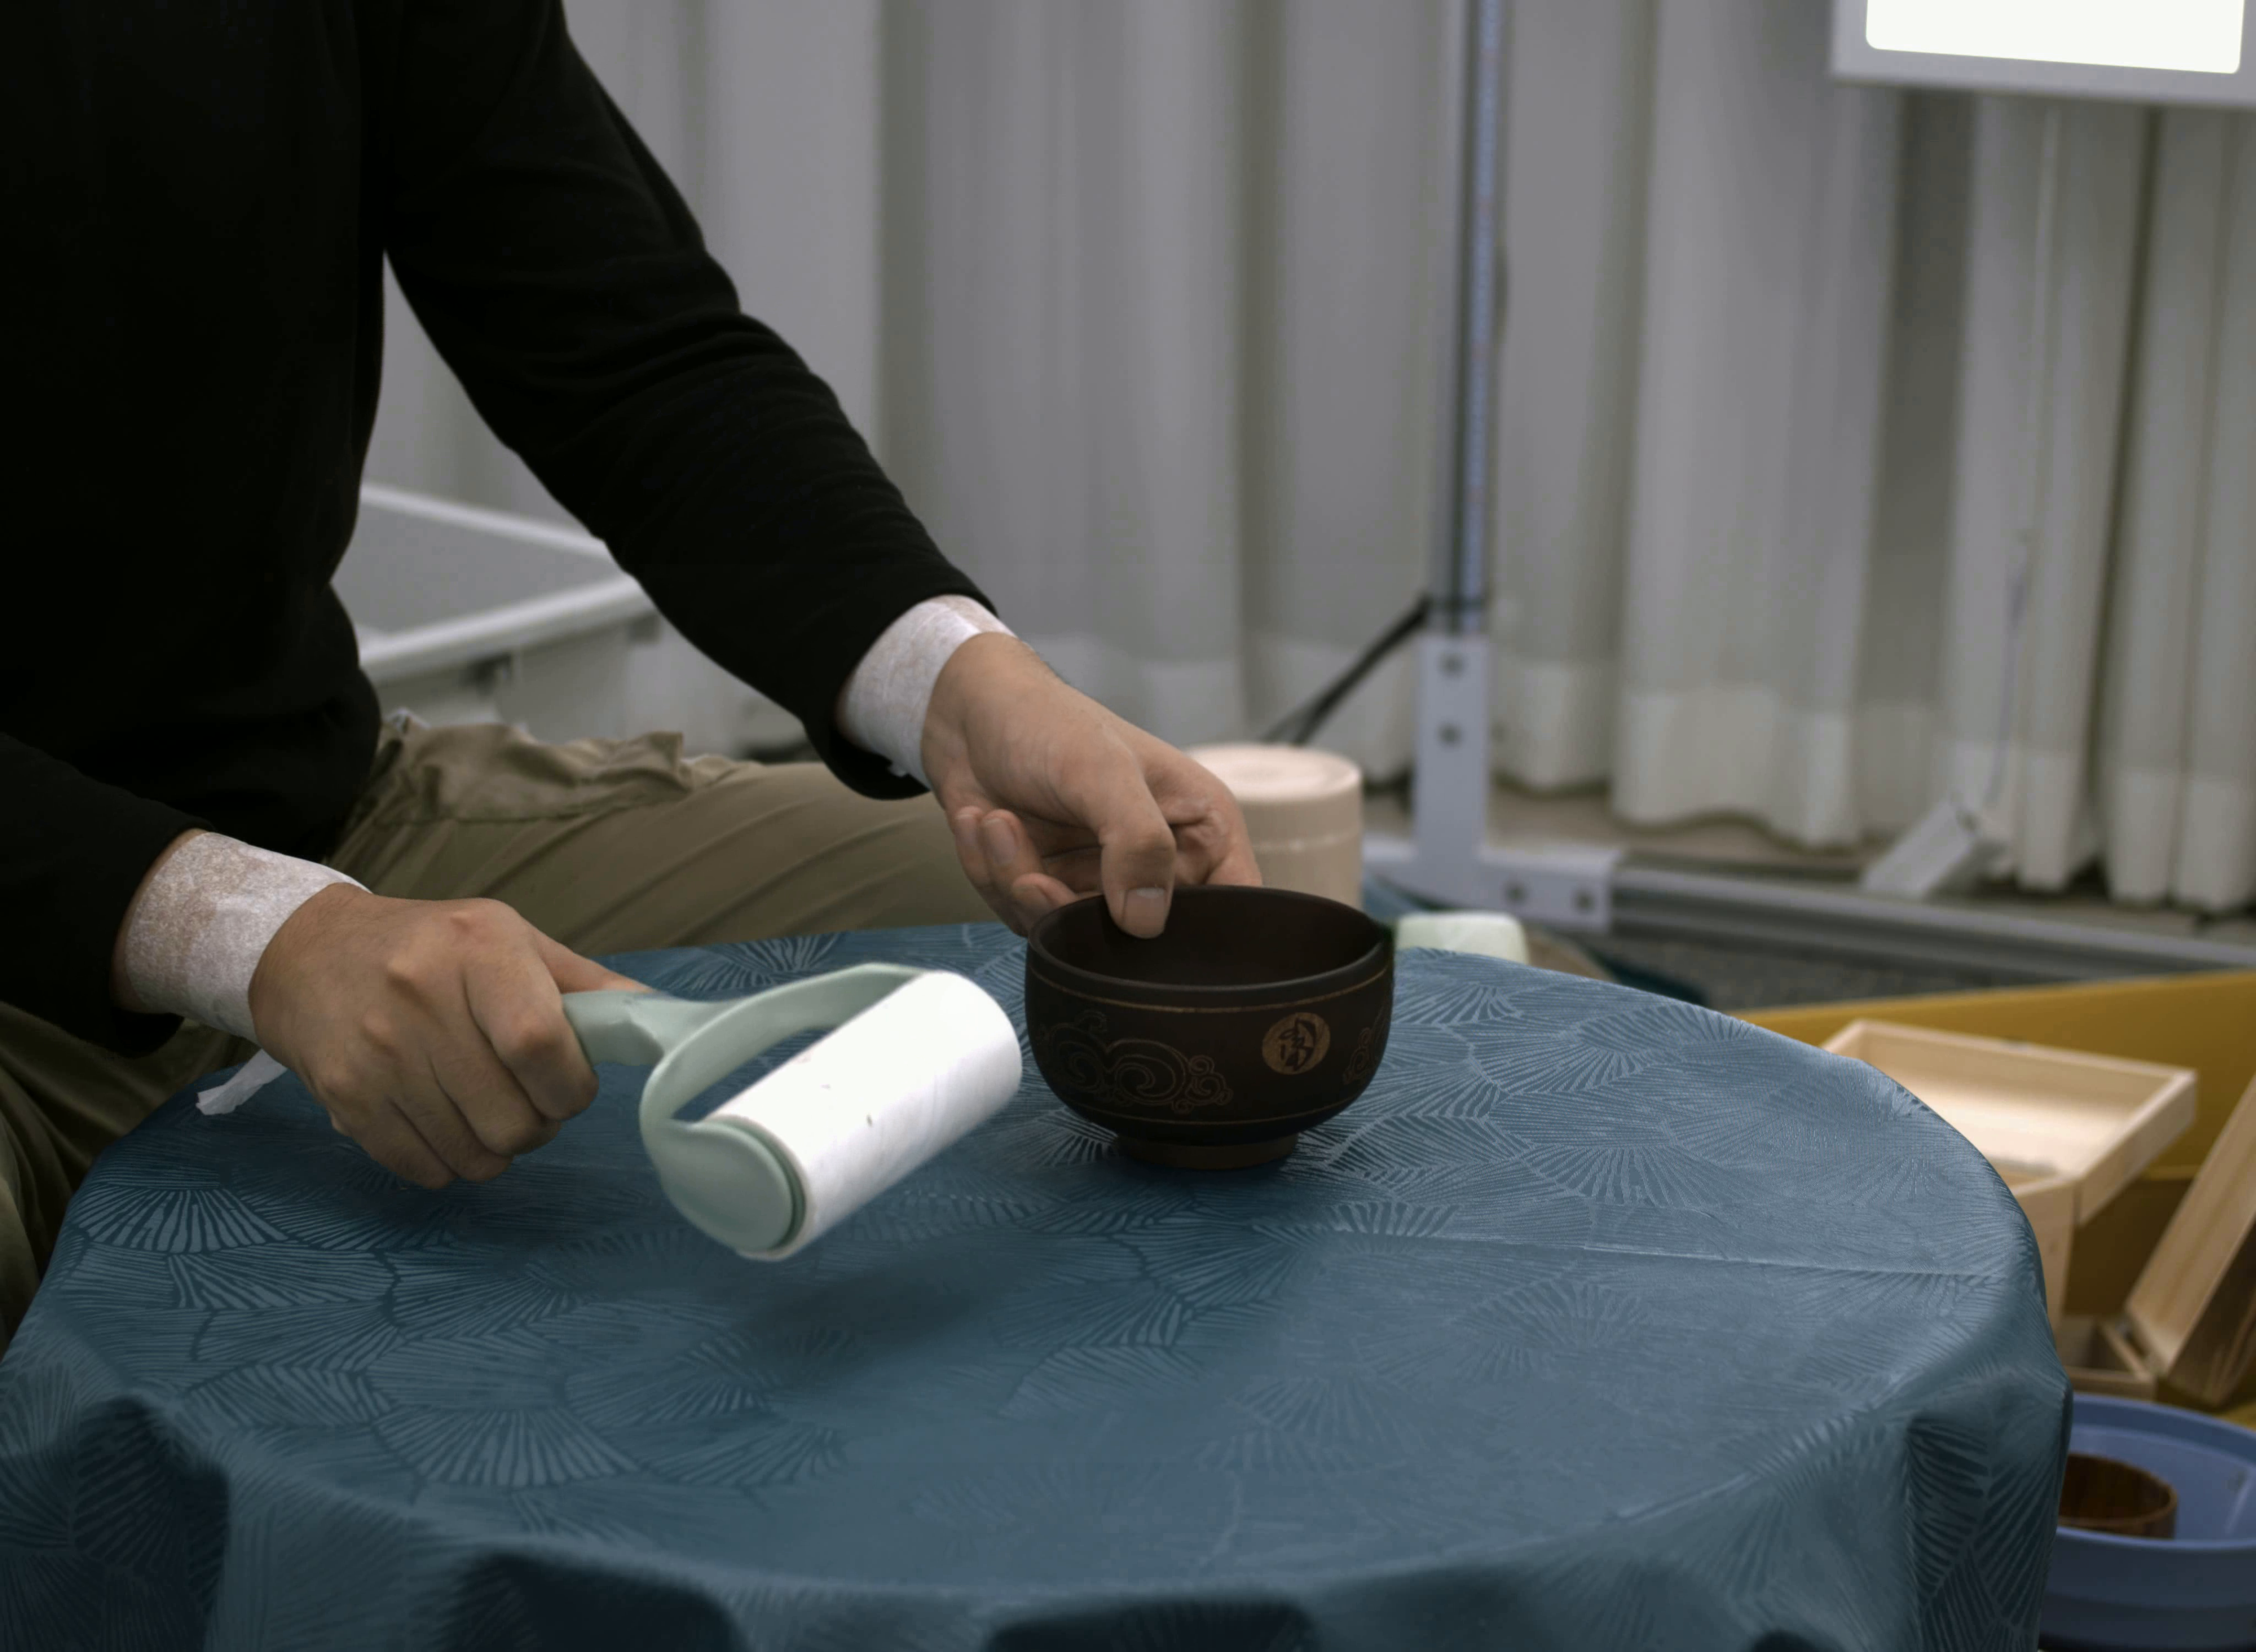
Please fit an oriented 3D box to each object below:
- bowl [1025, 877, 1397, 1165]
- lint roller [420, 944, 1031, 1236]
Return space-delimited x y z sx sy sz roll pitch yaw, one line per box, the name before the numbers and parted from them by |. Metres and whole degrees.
bowl | 0.026 0.065 1.657 0.117 0.070 0.117 -1 16 1
lint roller | -0.133 0.069 1.553 0.195 0.049 0.117 7 28 35
